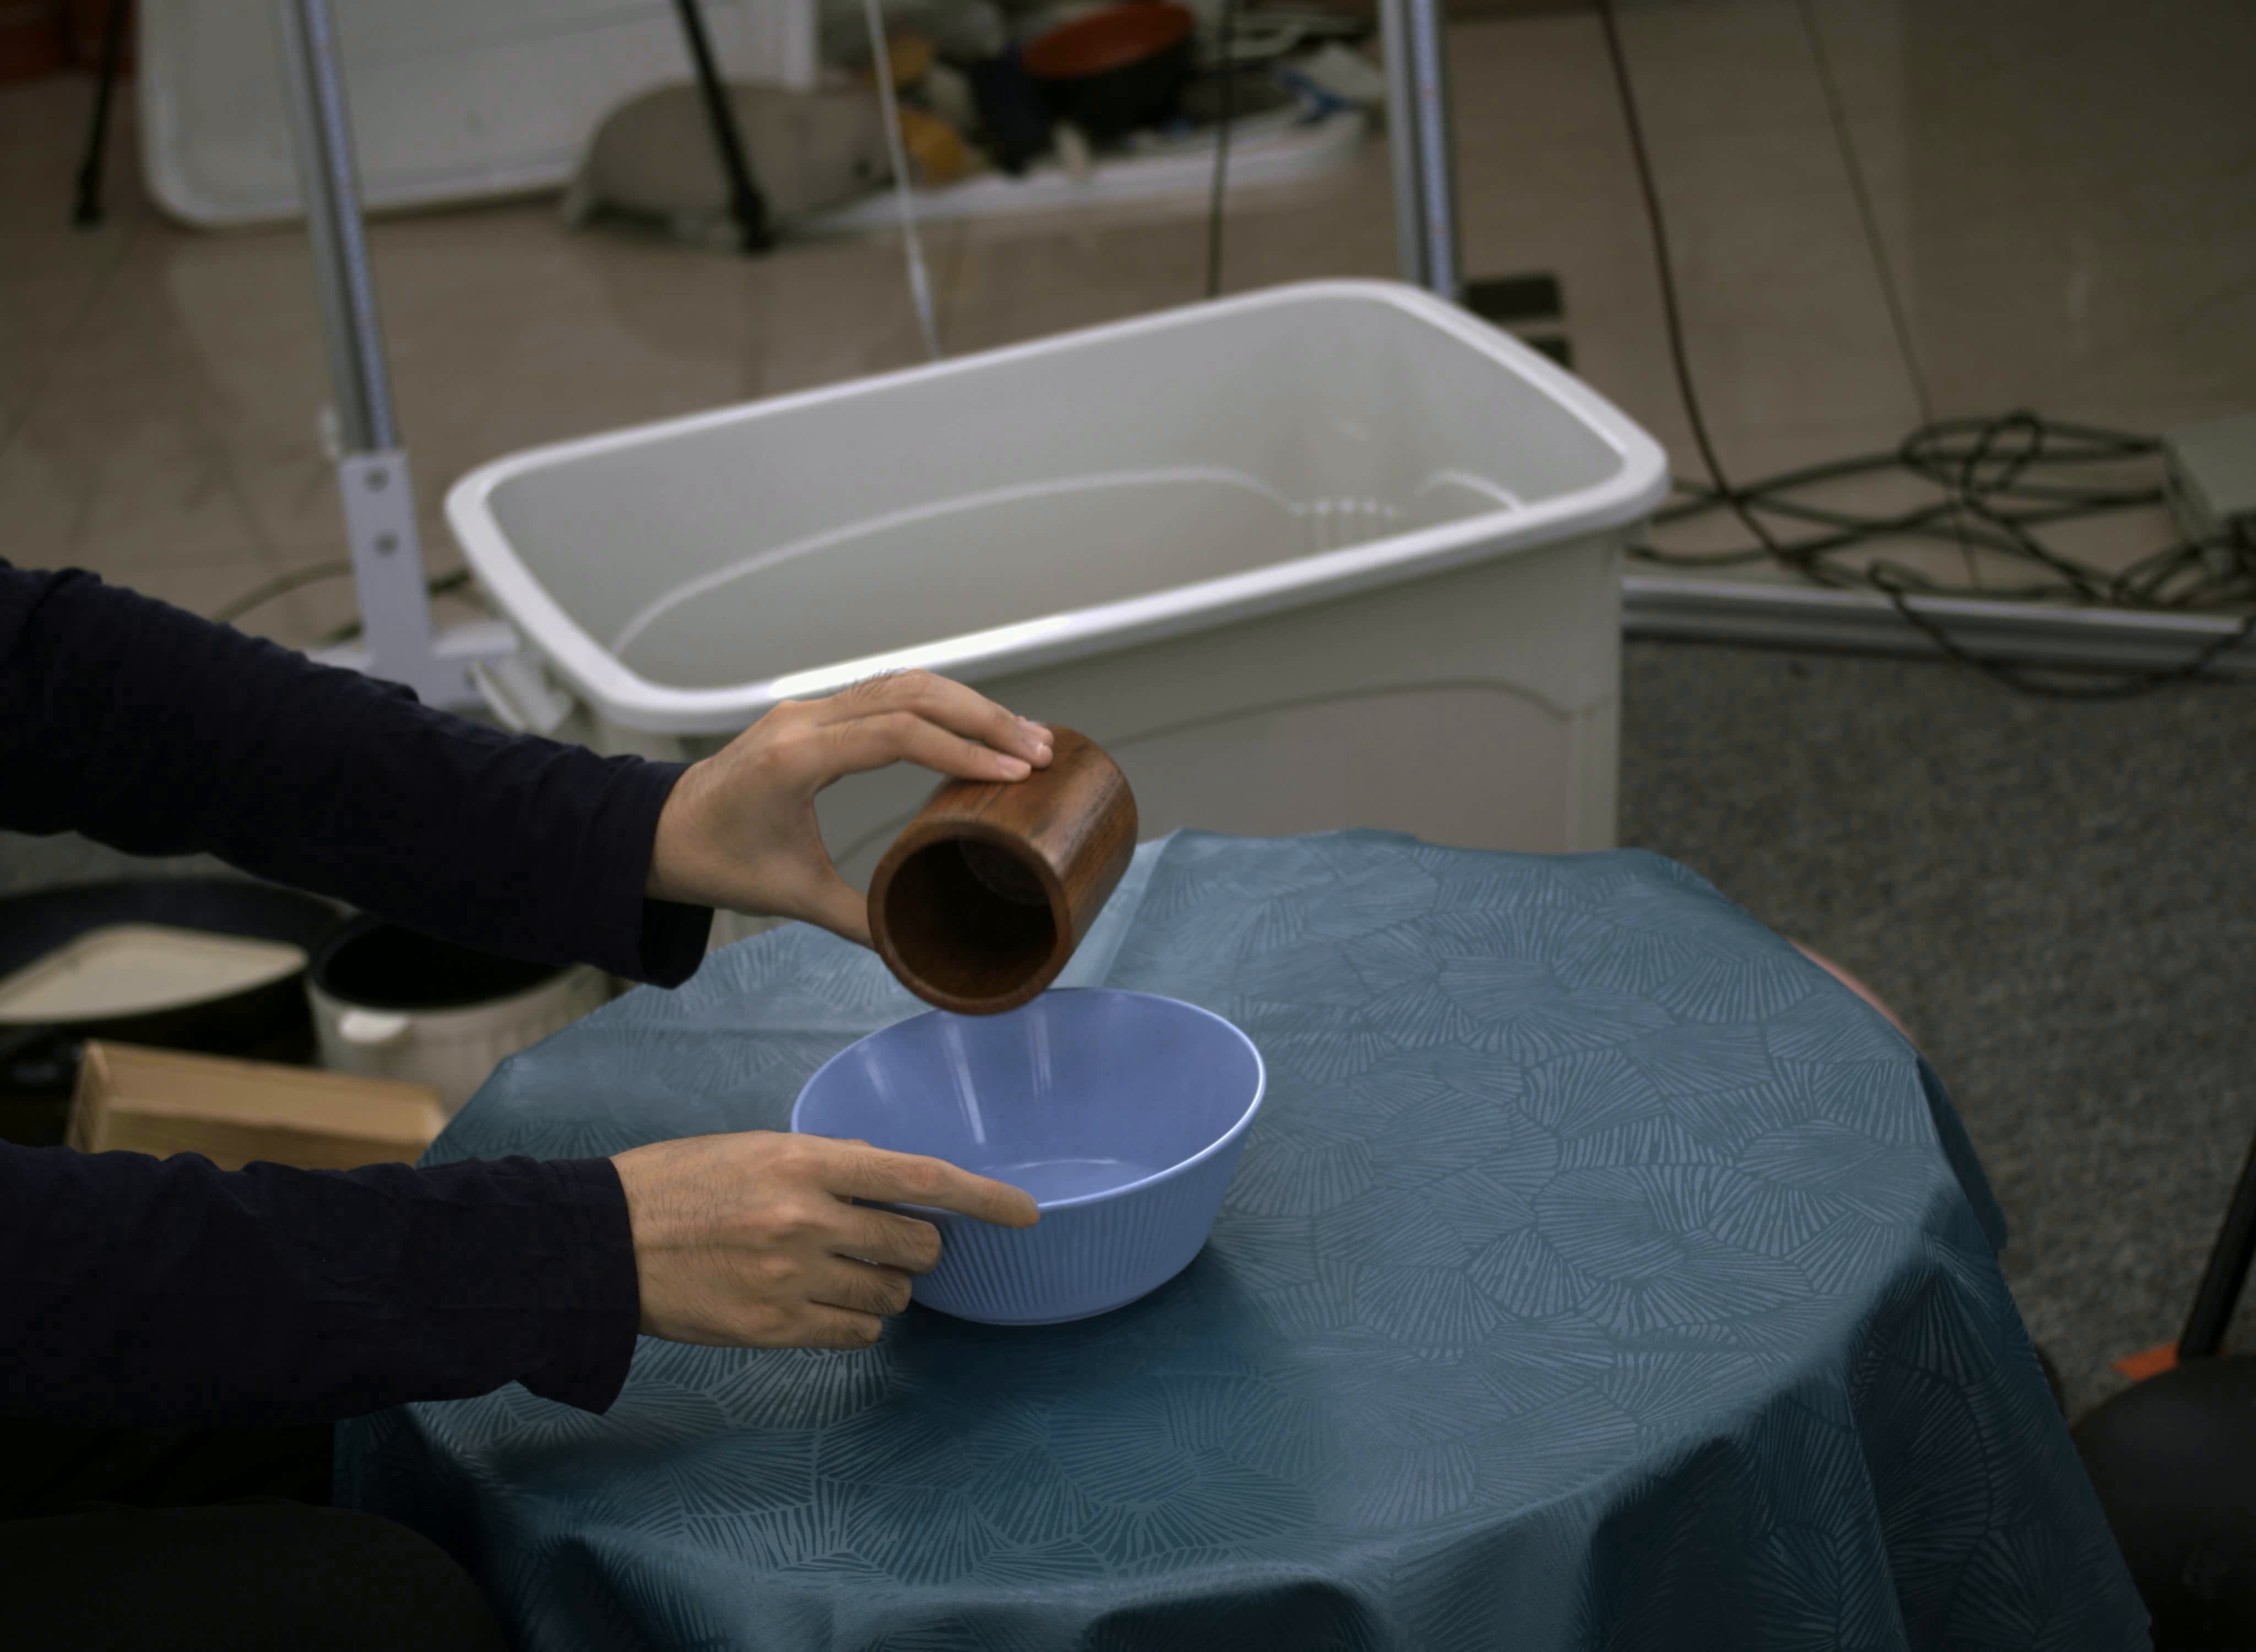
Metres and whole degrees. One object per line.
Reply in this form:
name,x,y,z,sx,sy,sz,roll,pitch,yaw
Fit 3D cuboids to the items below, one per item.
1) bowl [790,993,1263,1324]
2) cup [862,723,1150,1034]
bowl,-0.034,0.128,2.095,0.176,0.071,0.173,-6,24,3
cup,-0.044,0.019,2.142,0.087,0.089,0.117,2,23,17
